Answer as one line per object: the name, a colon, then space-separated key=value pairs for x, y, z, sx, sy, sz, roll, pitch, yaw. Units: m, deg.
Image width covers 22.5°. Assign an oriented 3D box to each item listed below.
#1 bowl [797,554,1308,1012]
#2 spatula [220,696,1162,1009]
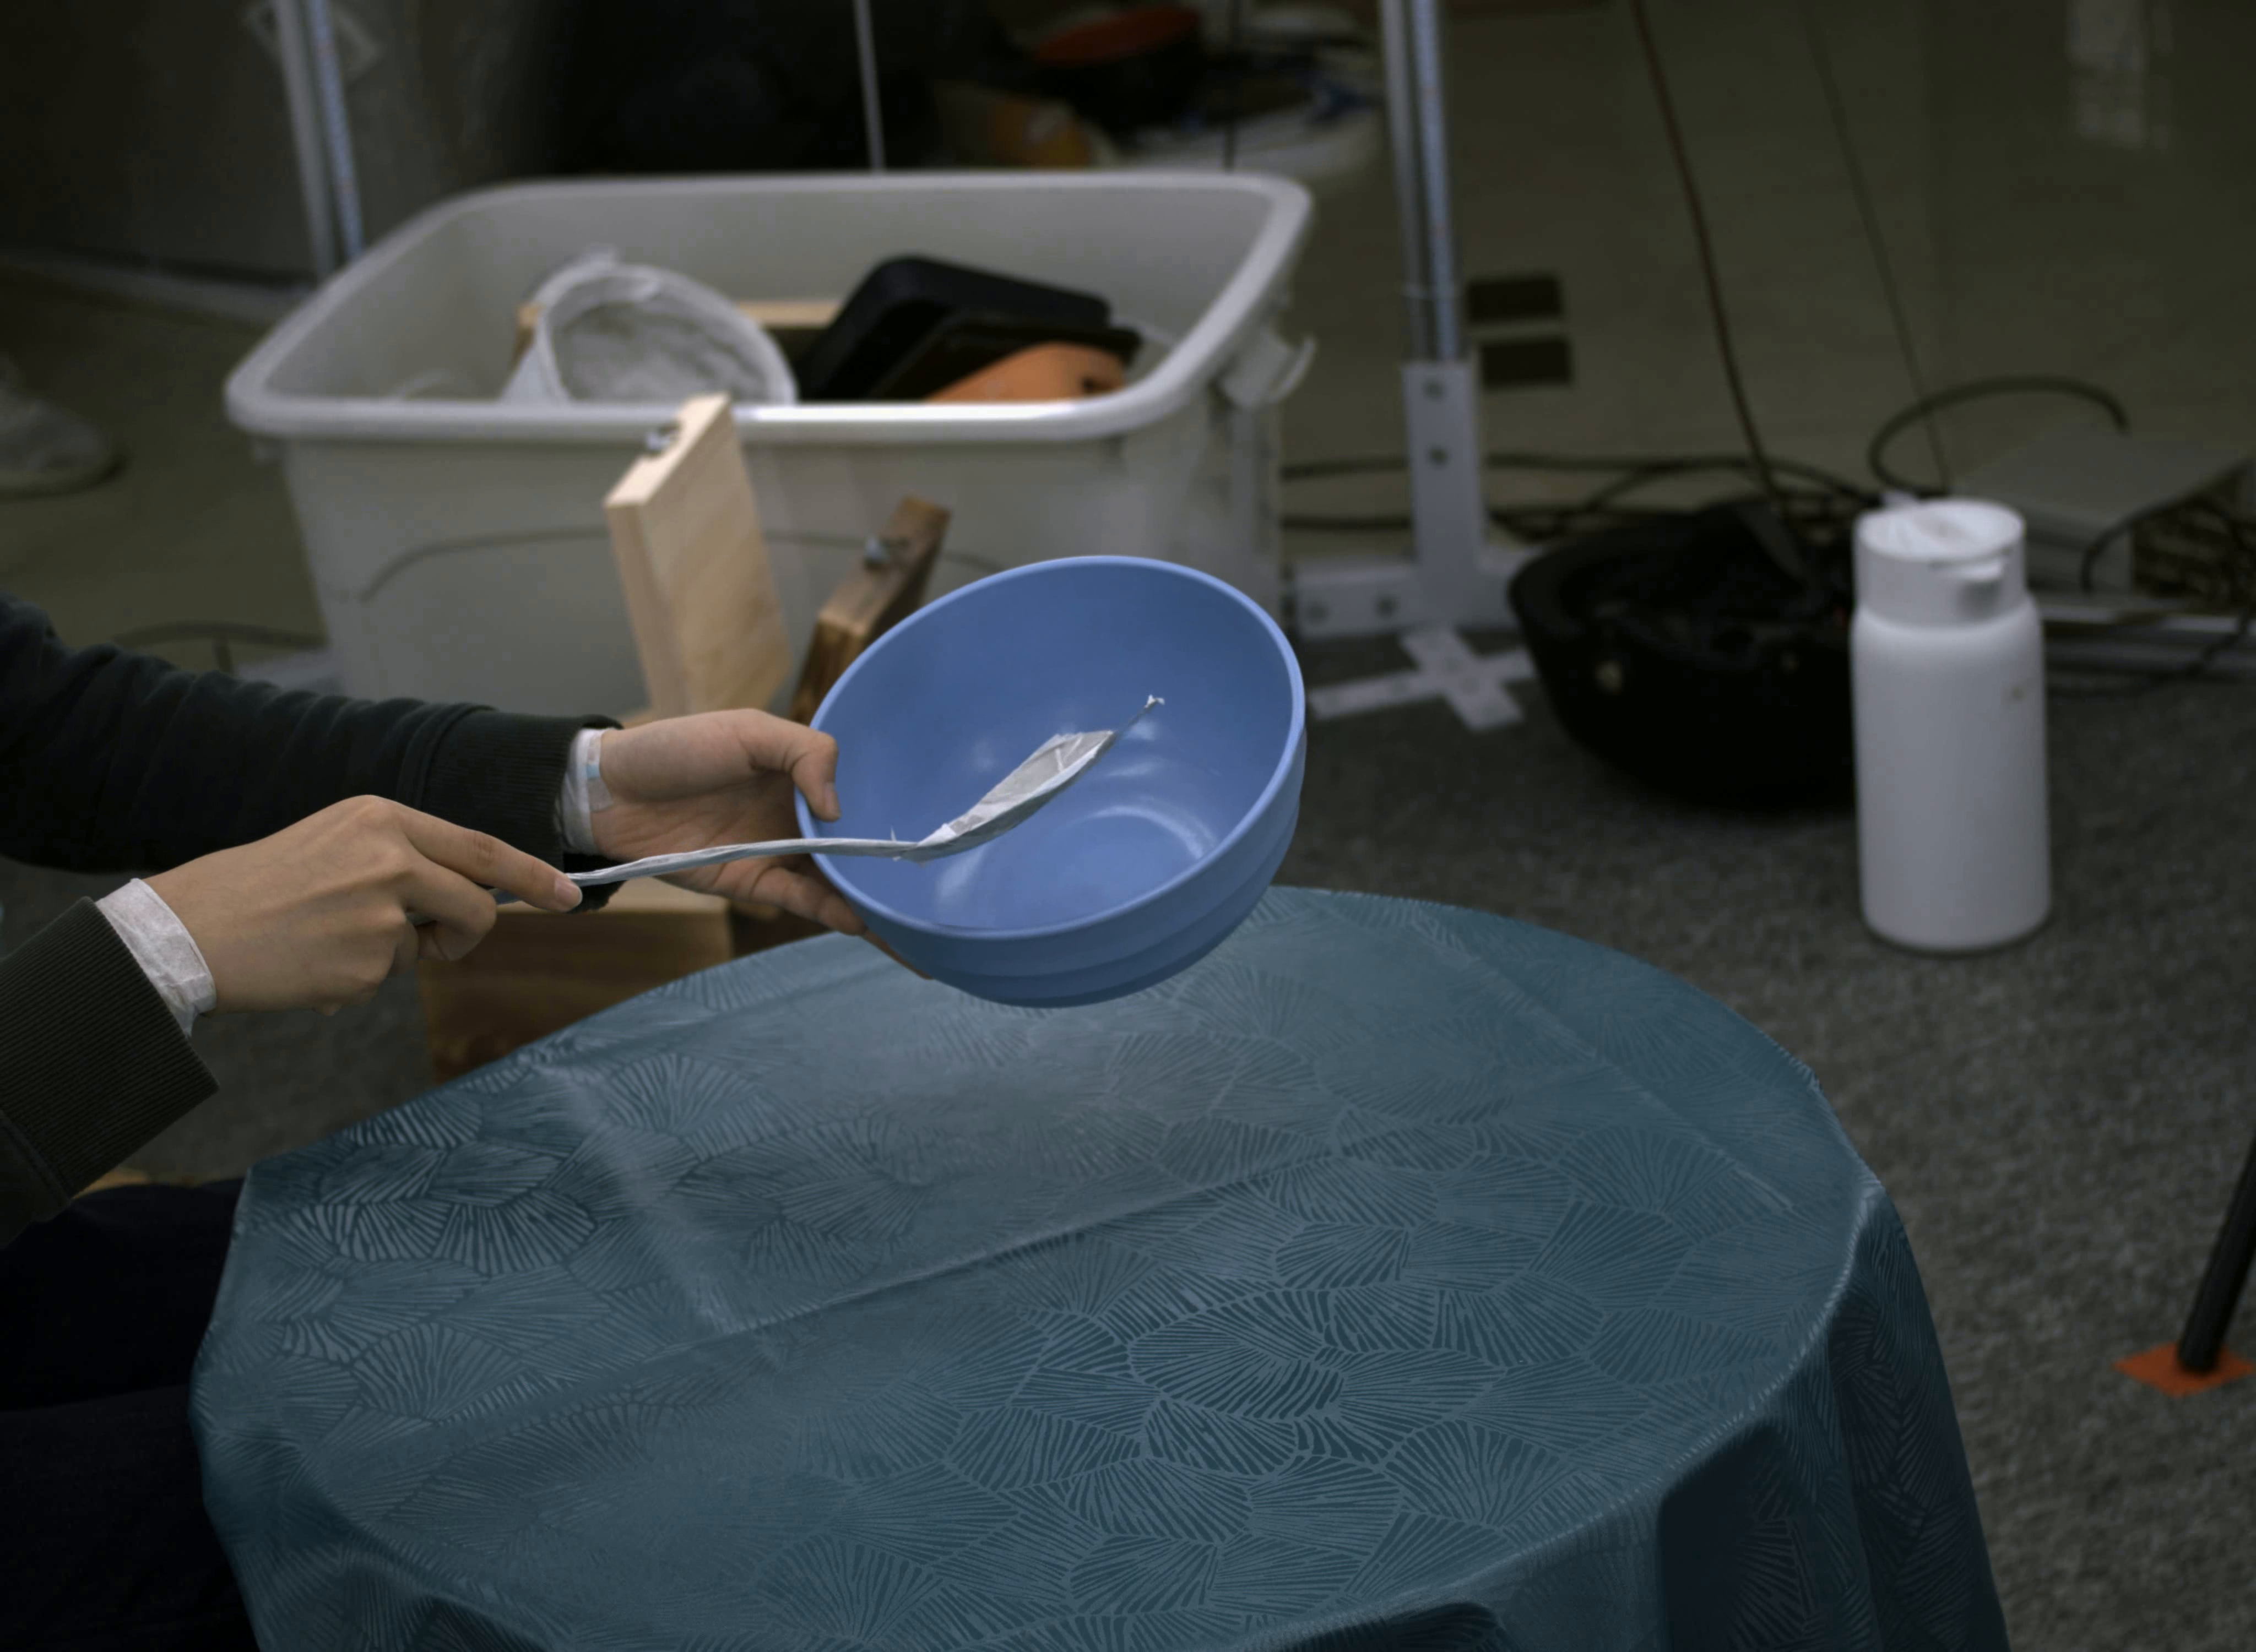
bowl: x=-0.019 y=-0.001 z=2.145 sx=0.196 sy=0.097 sz=0.193 roll=-9 pitch=48 yaw=10
spatula: x=-0.152 y=0.009 z=2.002 sx=0.363 sy=0.045 sz=0.099 roll=-11 pitch=-4 yaw=-28
